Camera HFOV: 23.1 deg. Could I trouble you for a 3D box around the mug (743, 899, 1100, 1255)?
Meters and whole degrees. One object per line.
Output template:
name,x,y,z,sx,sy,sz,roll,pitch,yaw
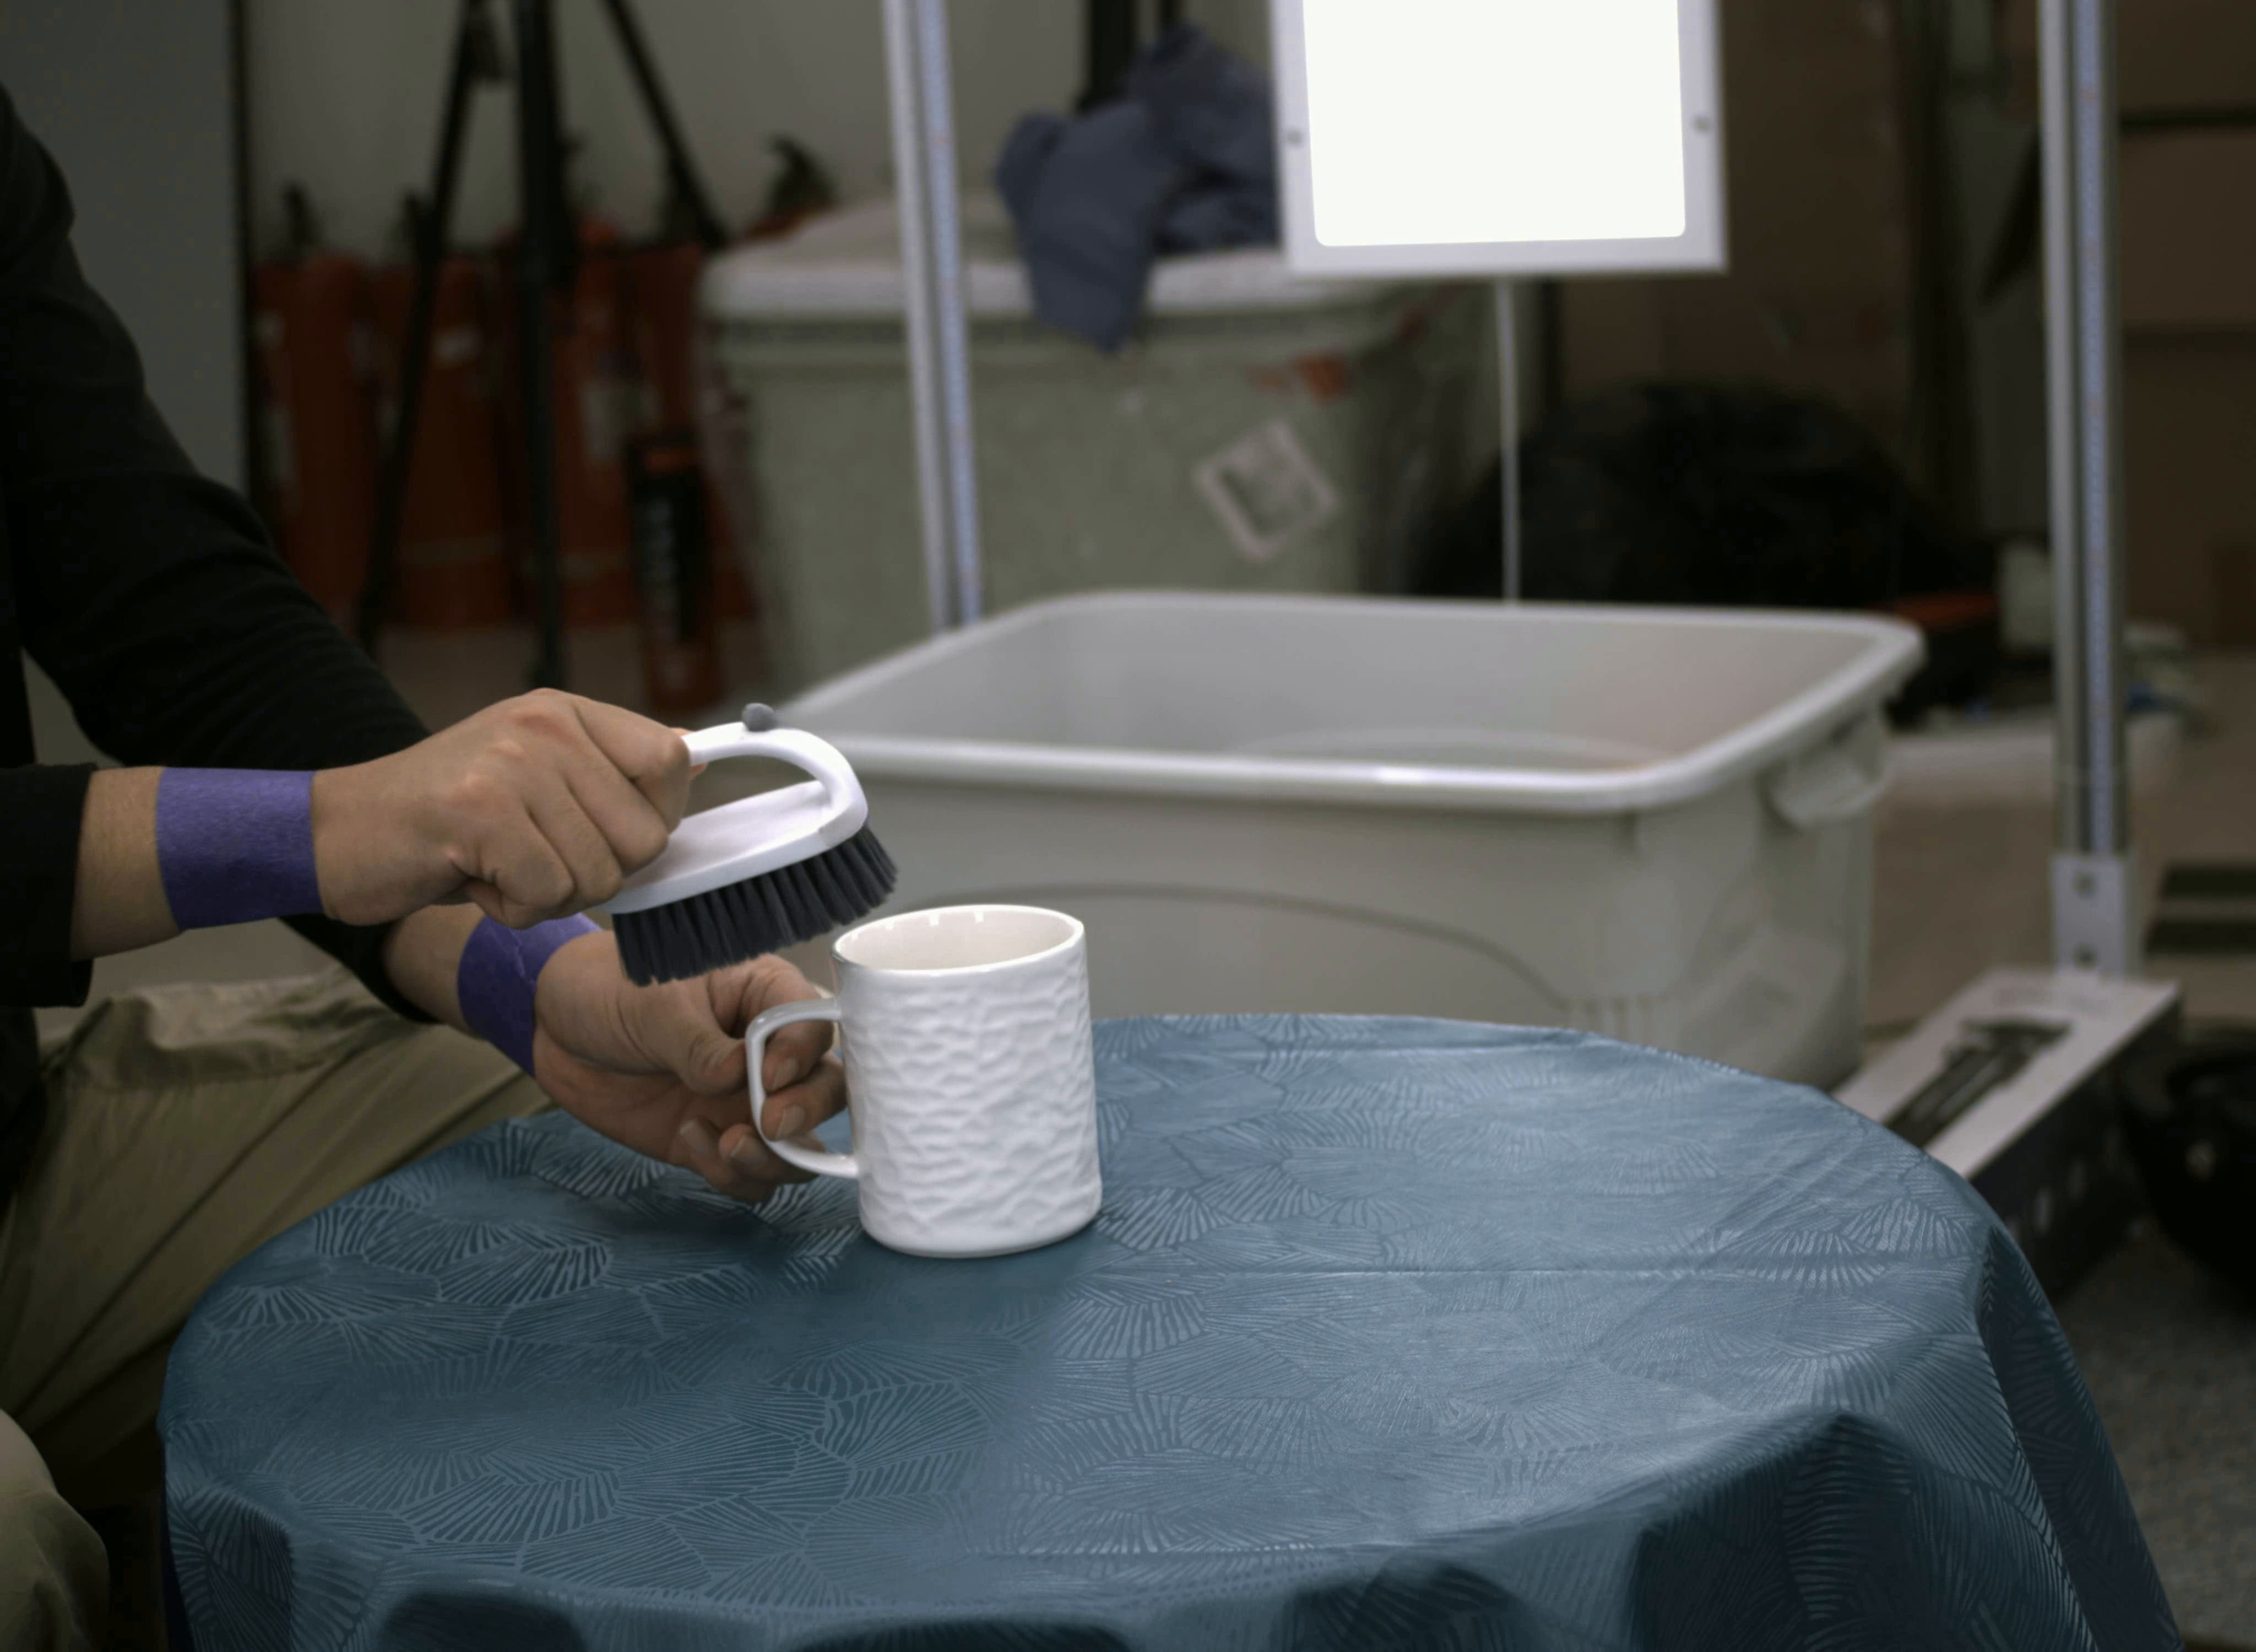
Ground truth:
mug,-0.070,0.087,1.864,0.117,0.102,0.085,-7,14,-7

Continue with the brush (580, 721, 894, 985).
brush,-0.135,0.004,1.829,0.099,0.072,0.050,-17,20,4
